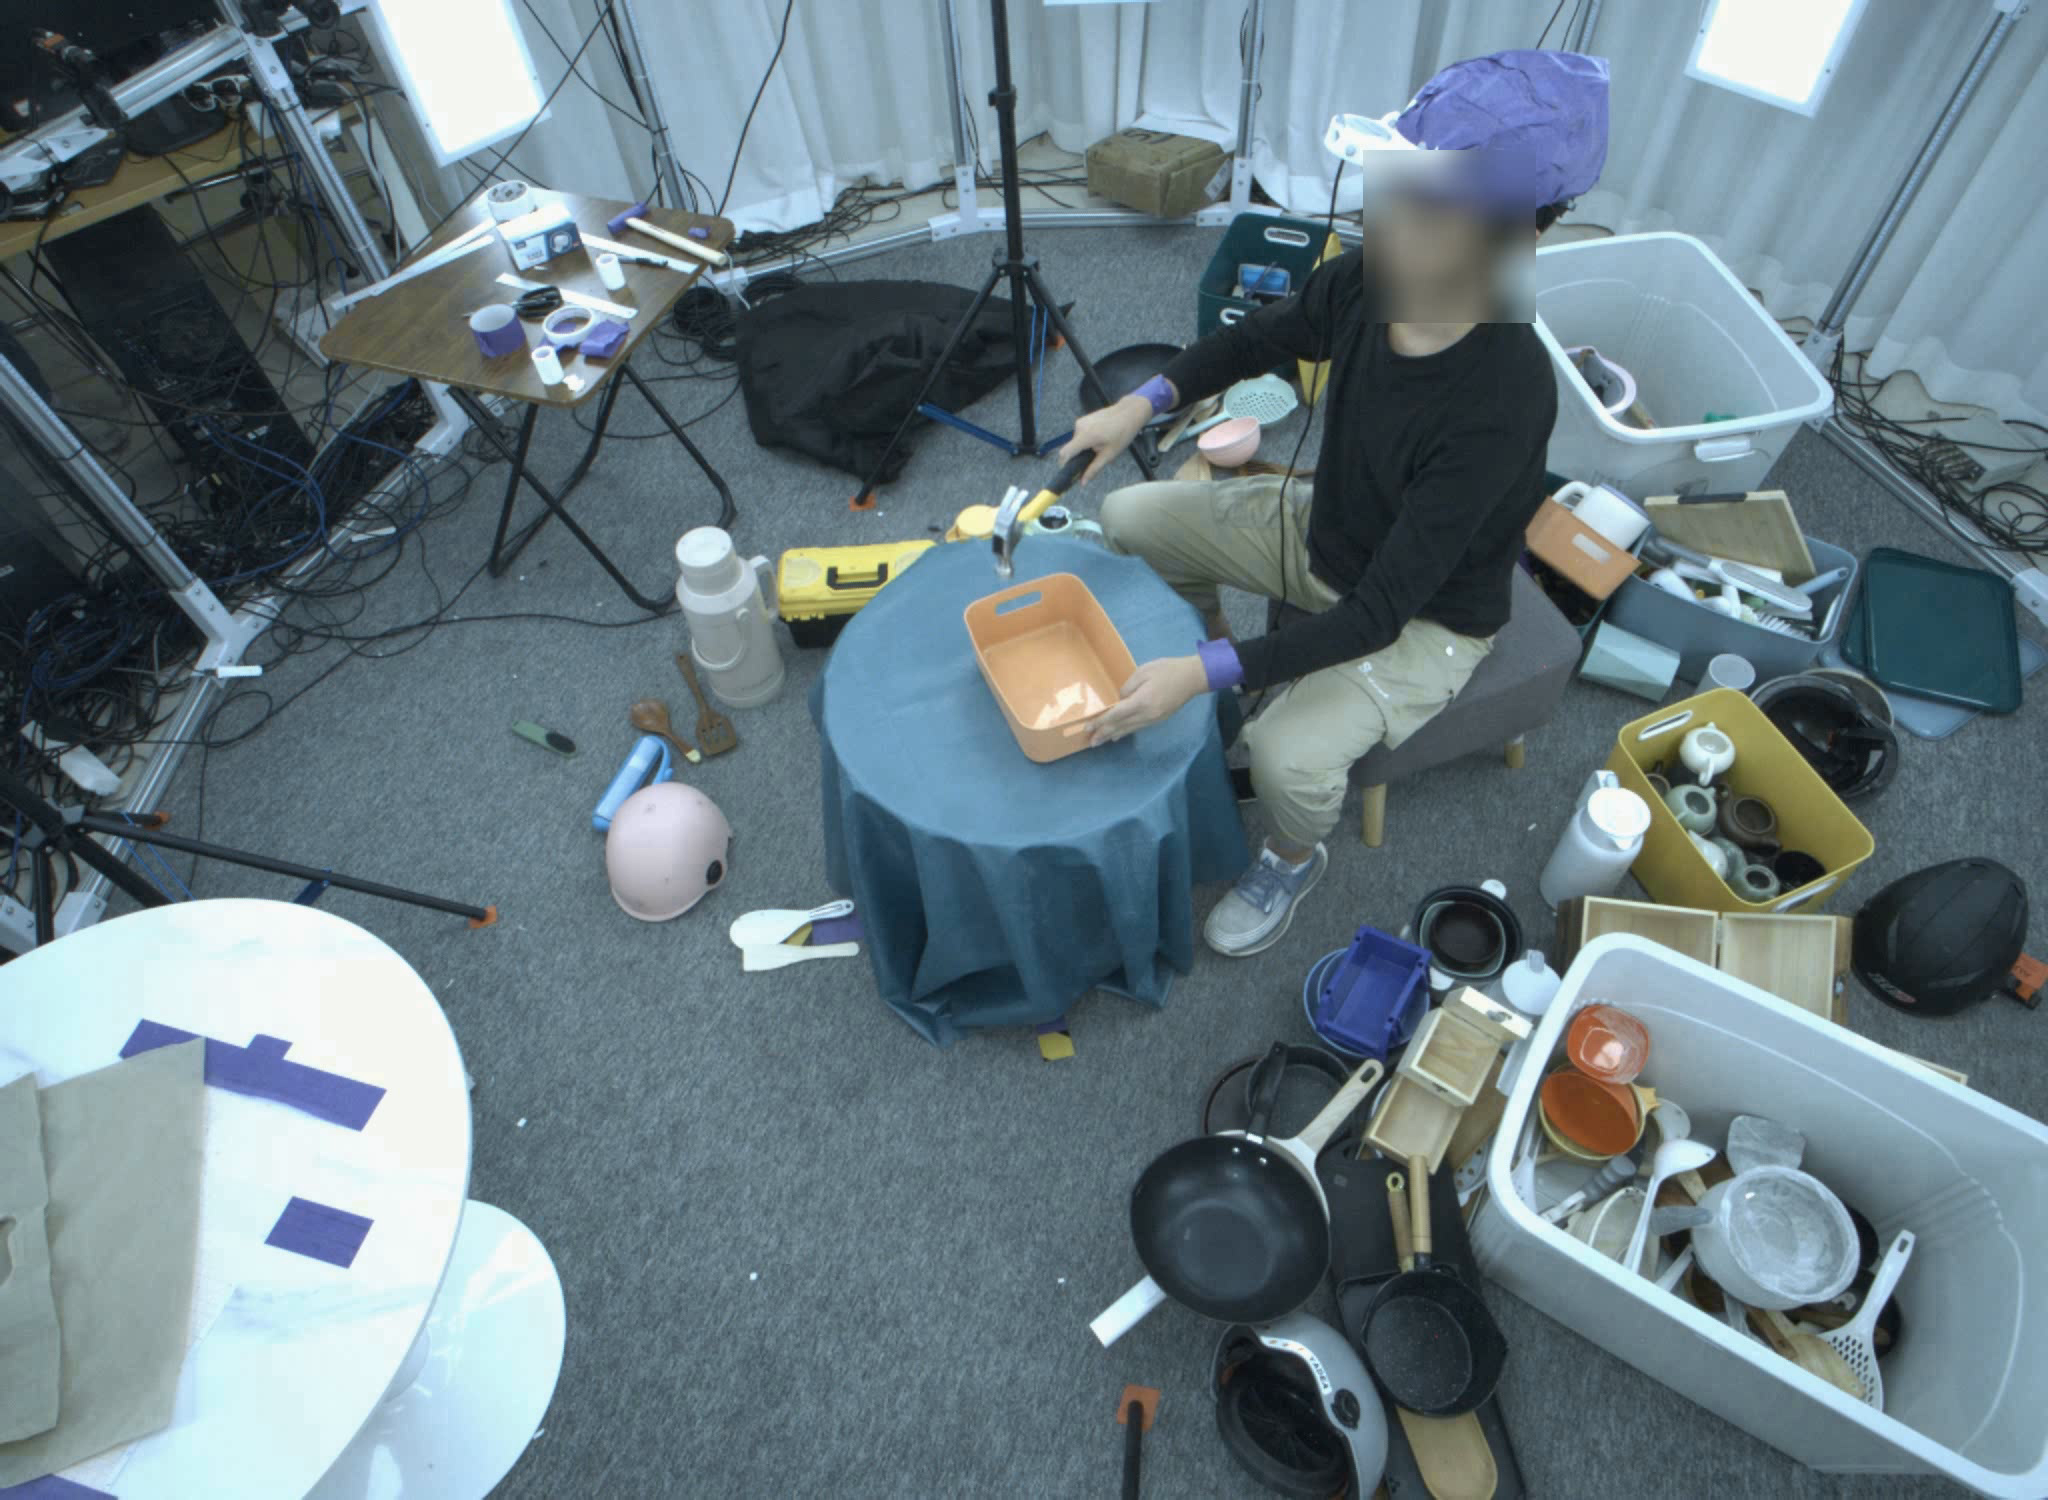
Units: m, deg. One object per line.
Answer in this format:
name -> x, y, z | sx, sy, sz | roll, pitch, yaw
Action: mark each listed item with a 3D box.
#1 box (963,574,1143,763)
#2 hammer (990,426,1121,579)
box -> 0.041, -0.119, 1.803 | 0.201, 0.103, 0.268 | -20, 57, -13
hammer -> 0.053, -0.400, 1.849 | 0.032, 0.132, 0.340 | 26, 53, 21
